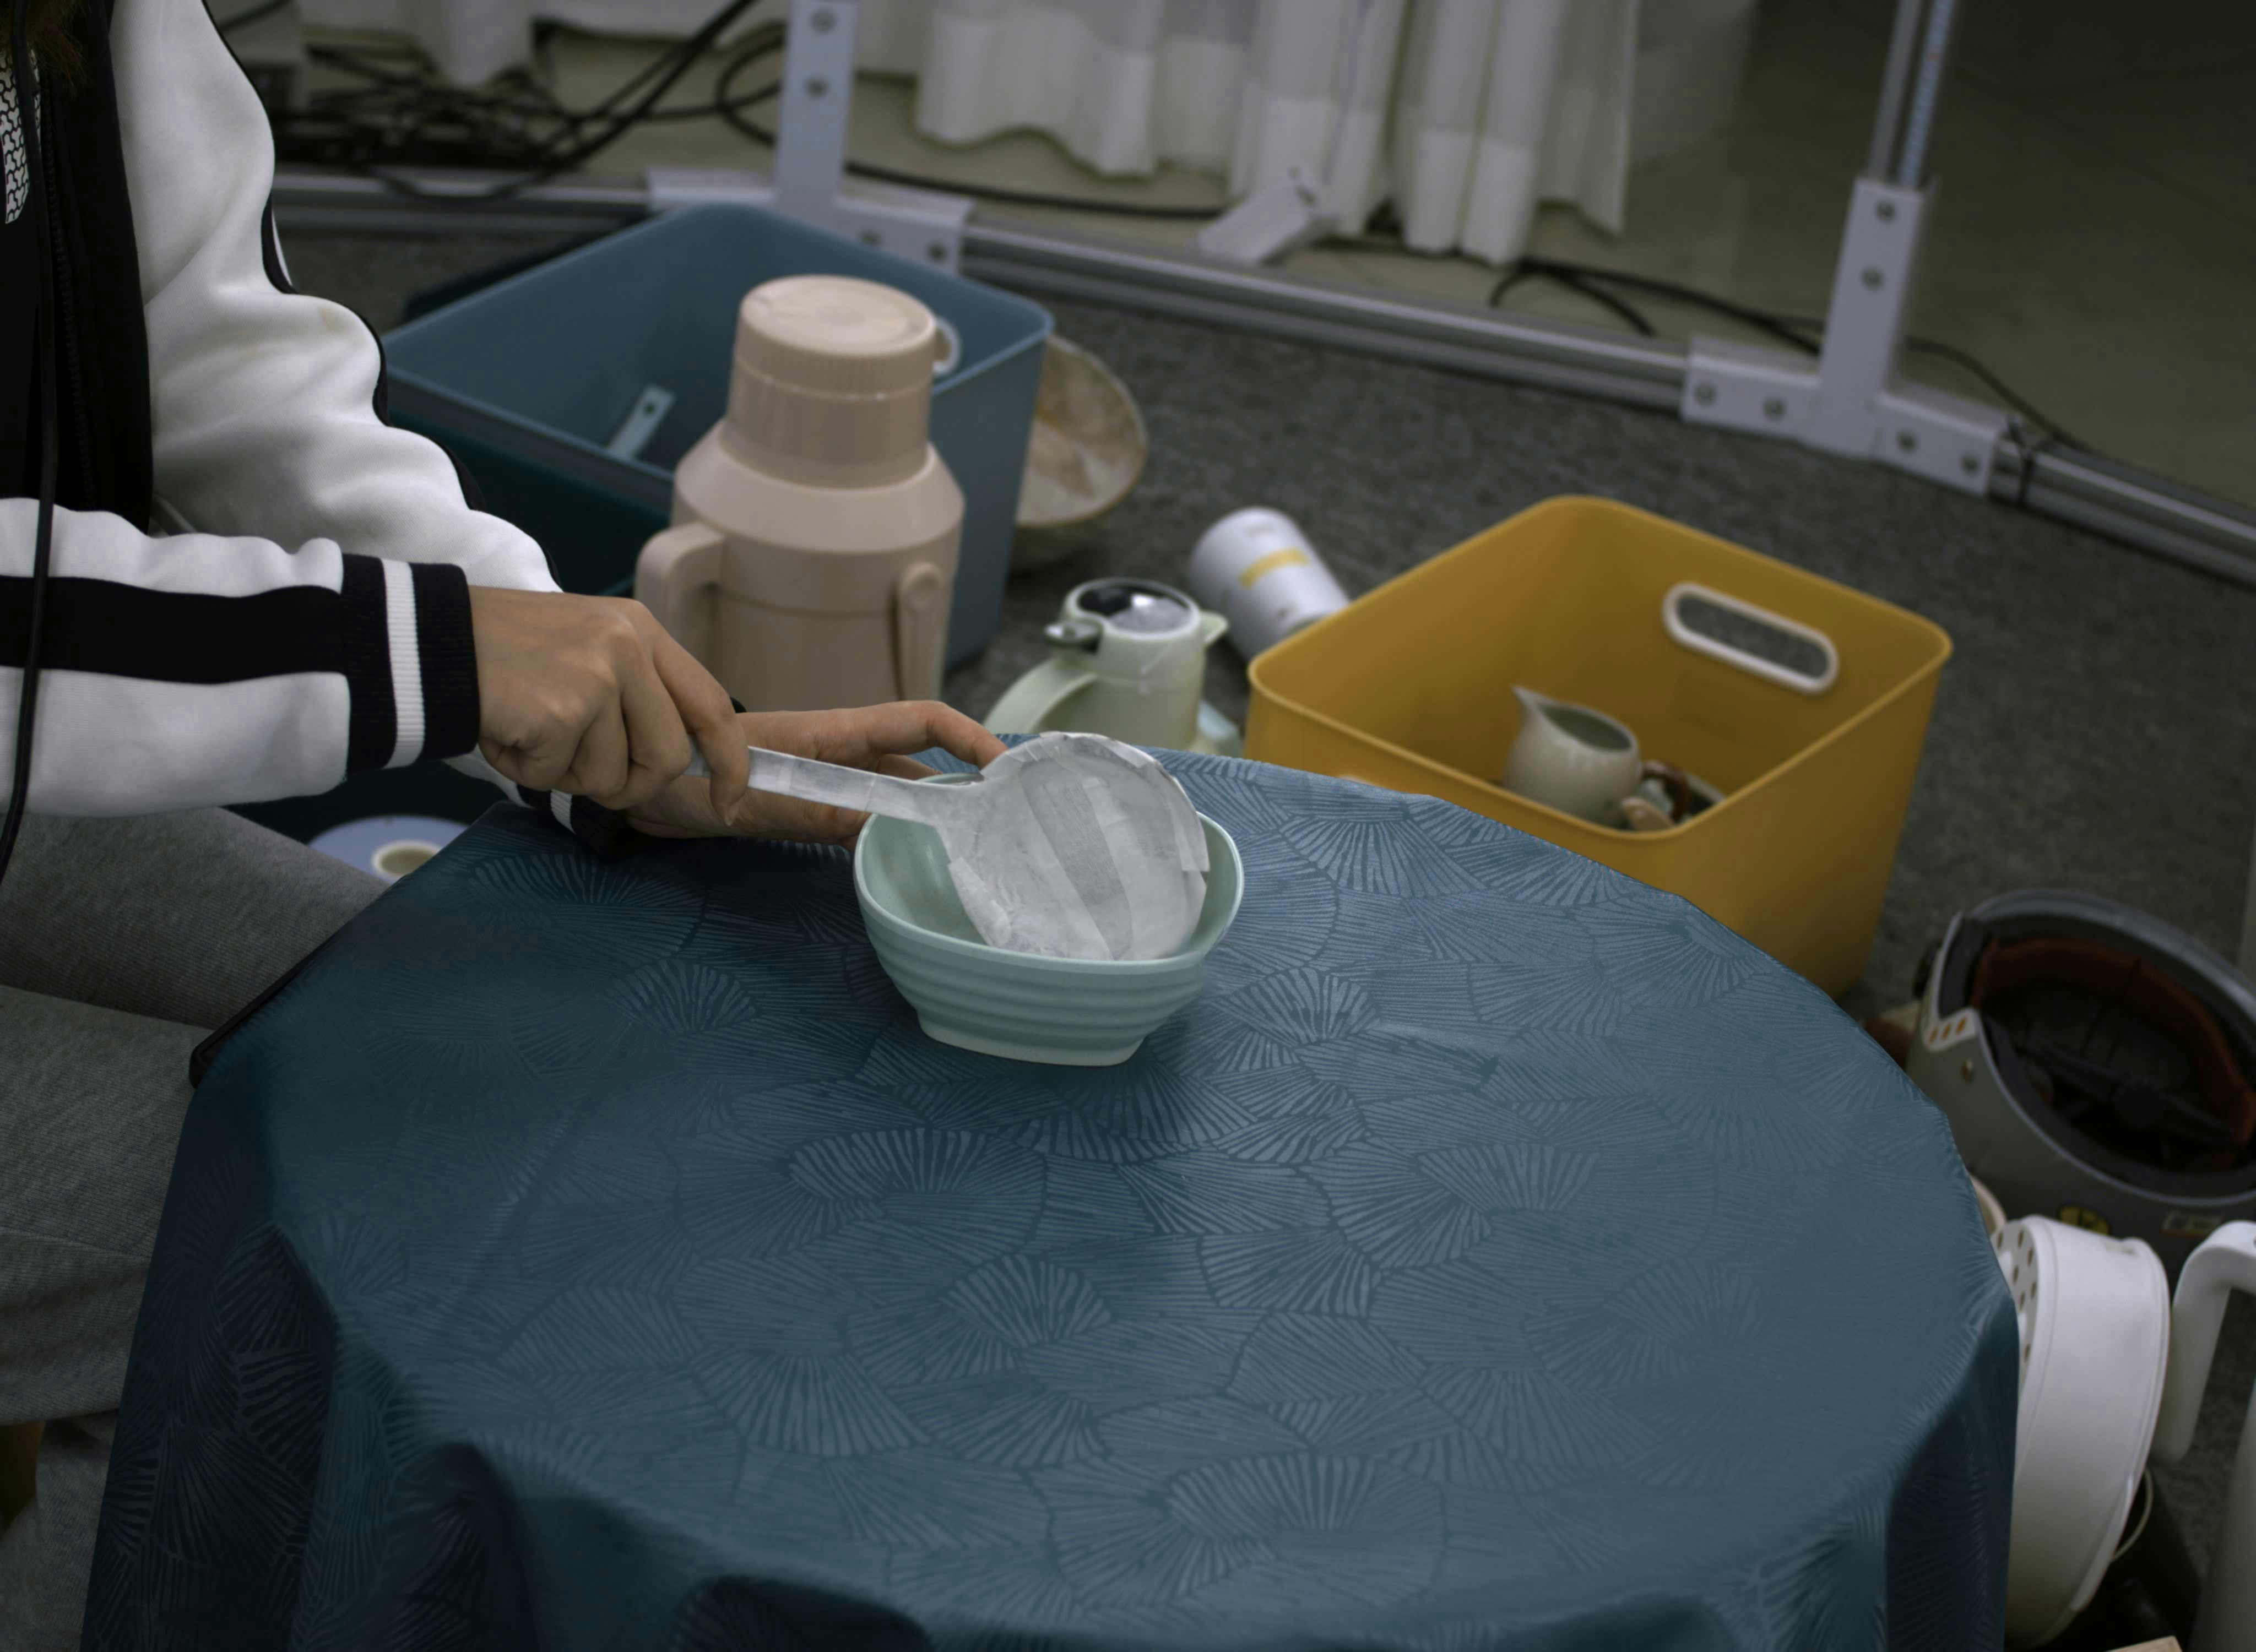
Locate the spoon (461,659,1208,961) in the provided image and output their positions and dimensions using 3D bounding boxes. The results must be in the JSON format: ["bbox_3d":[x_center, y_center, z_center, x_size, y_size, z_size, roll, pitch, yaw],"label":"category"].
[{"bbox_3d":[-0.099,-0.014,1.851,0.275,0.100,0.060,16,14,-30],"label":"spoon"}]

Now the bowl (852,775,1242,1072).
[{"bbox_3d":[-0.031,0.040,1.900,0.151,0.058,0.152,5,27,-3],"label":"bowl"}]
